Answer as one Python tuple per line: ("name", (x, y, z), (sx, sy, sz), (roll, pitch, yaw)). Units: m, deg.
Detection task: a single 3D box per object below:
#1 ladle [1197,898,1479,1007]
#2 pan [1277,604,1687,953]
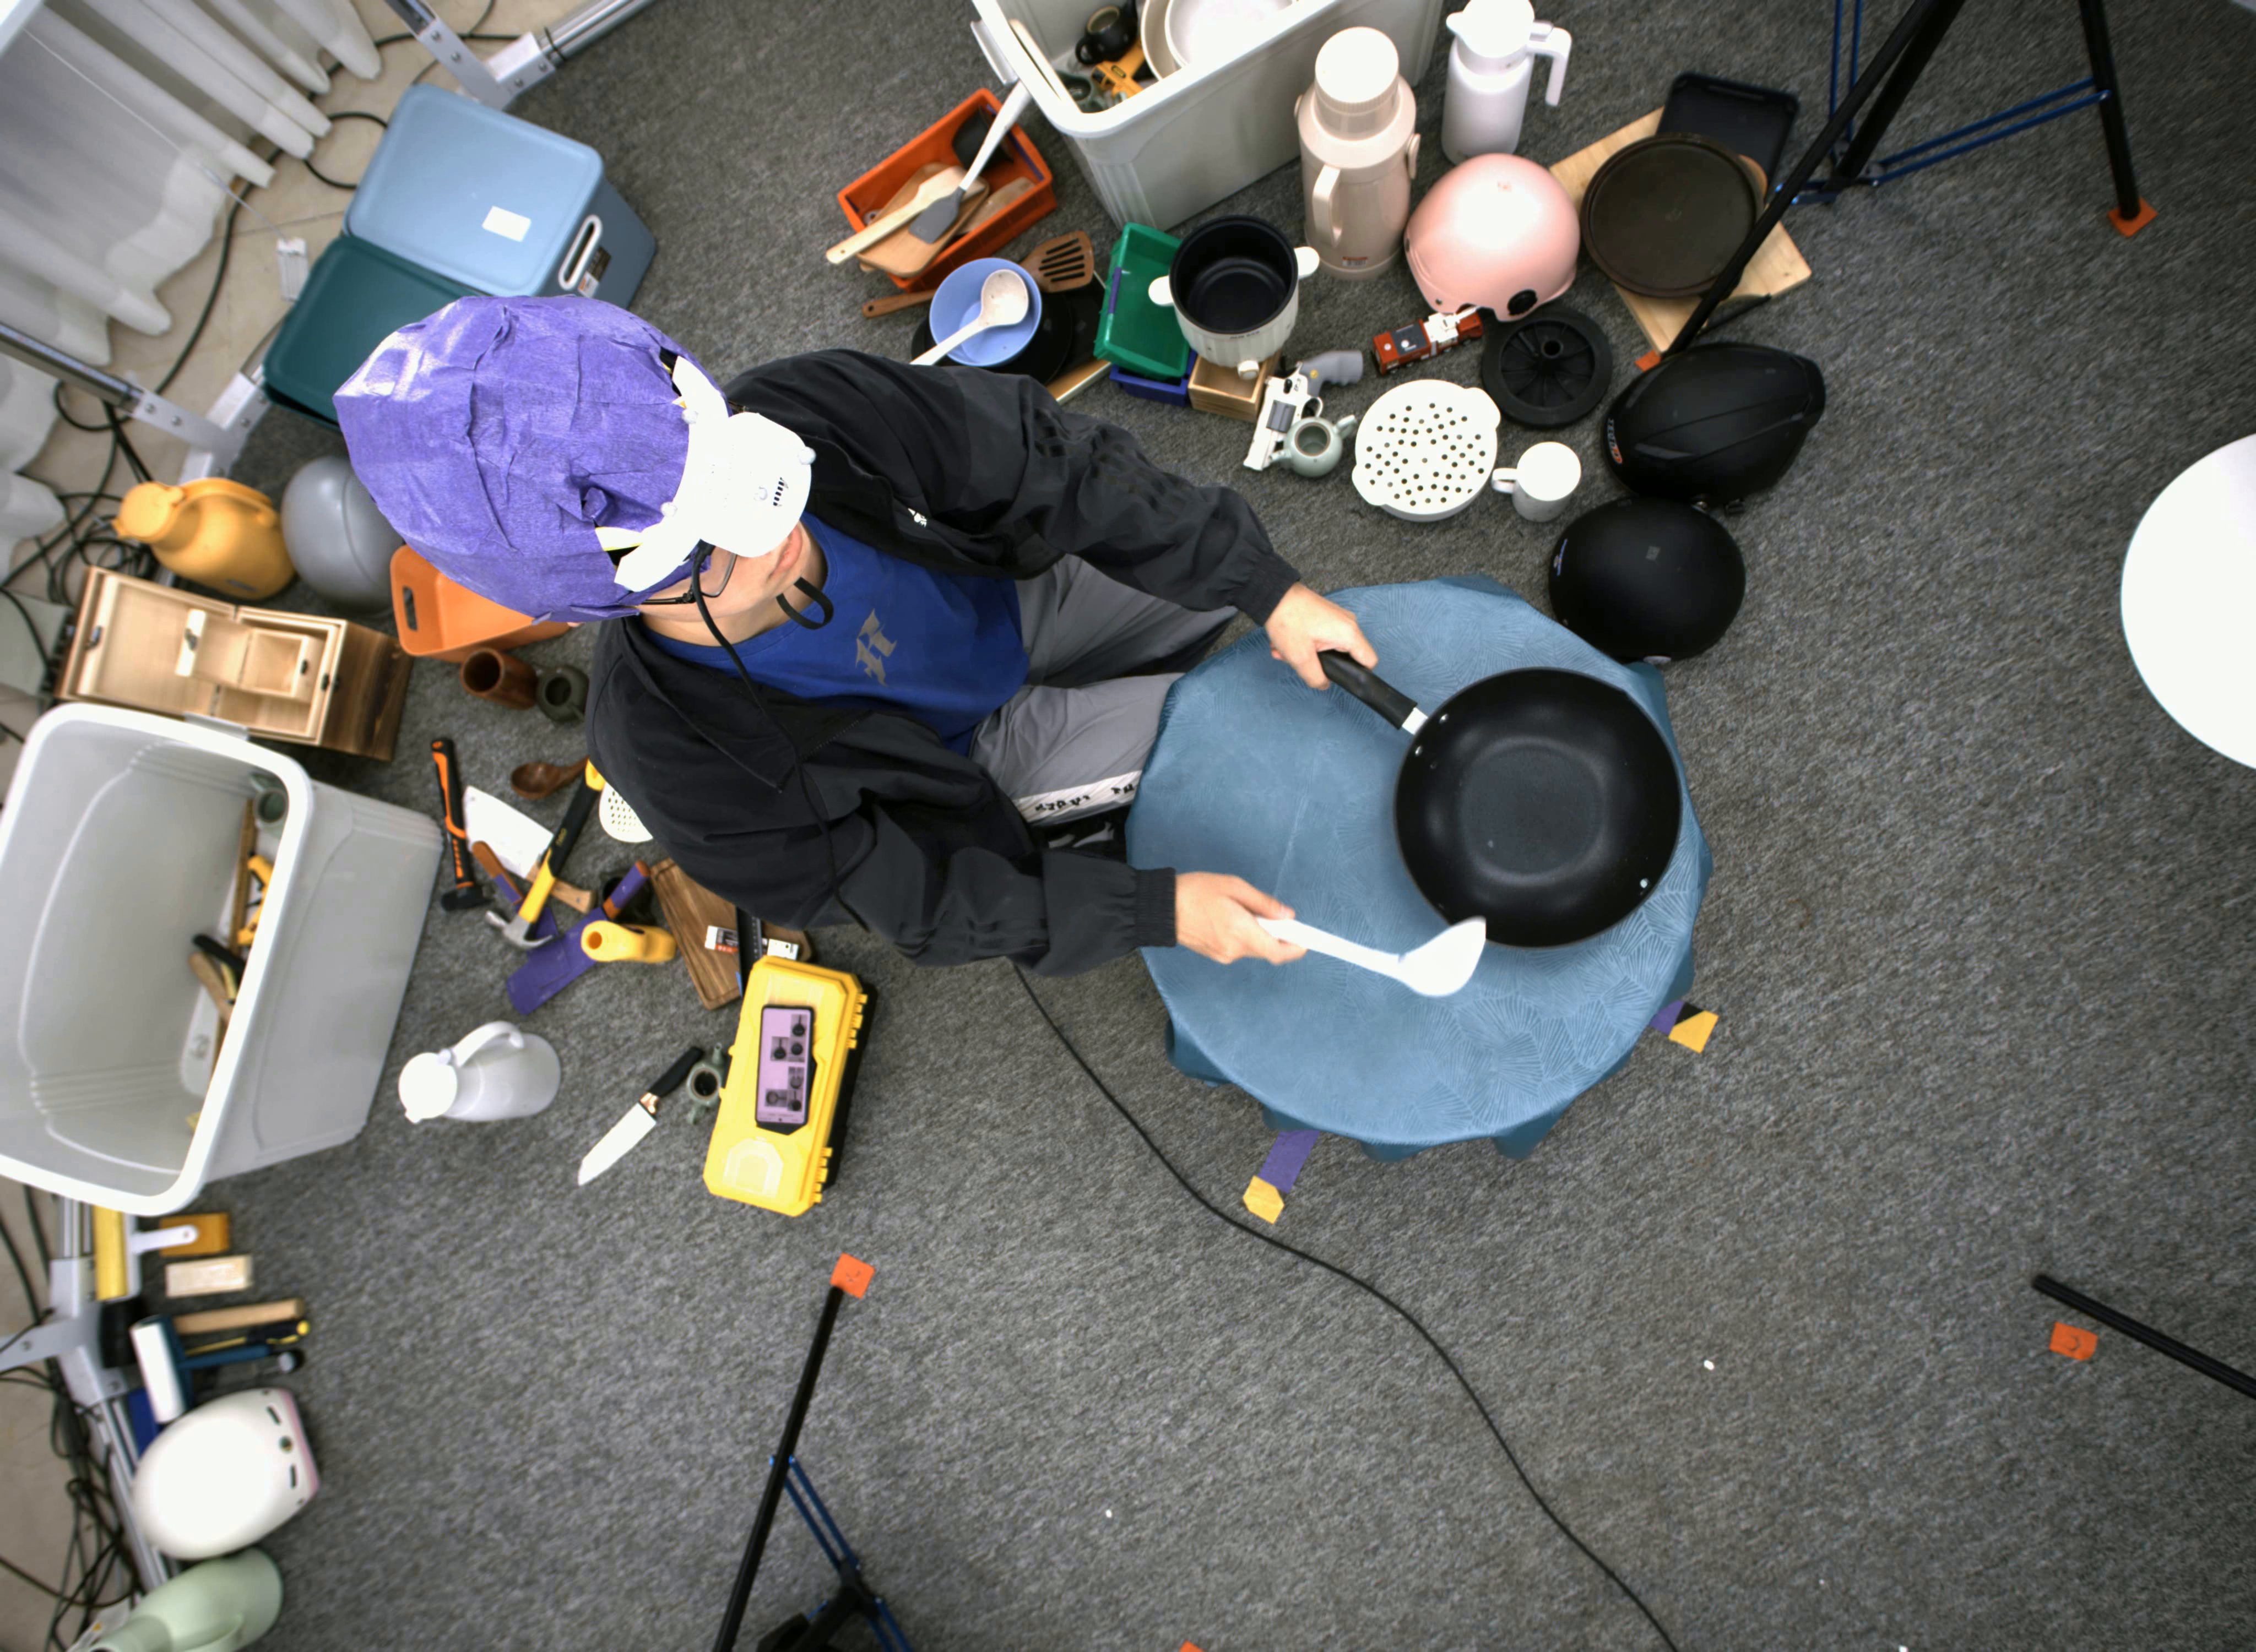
("ladle", (0.192, 0.106, 1.321), (0.293, 0.088, 0.071), (17, 133, 33))
("pan", (0.340, -0.072, 1.402), (0.462, 0.086, 0.290), (38, 98, 9))
